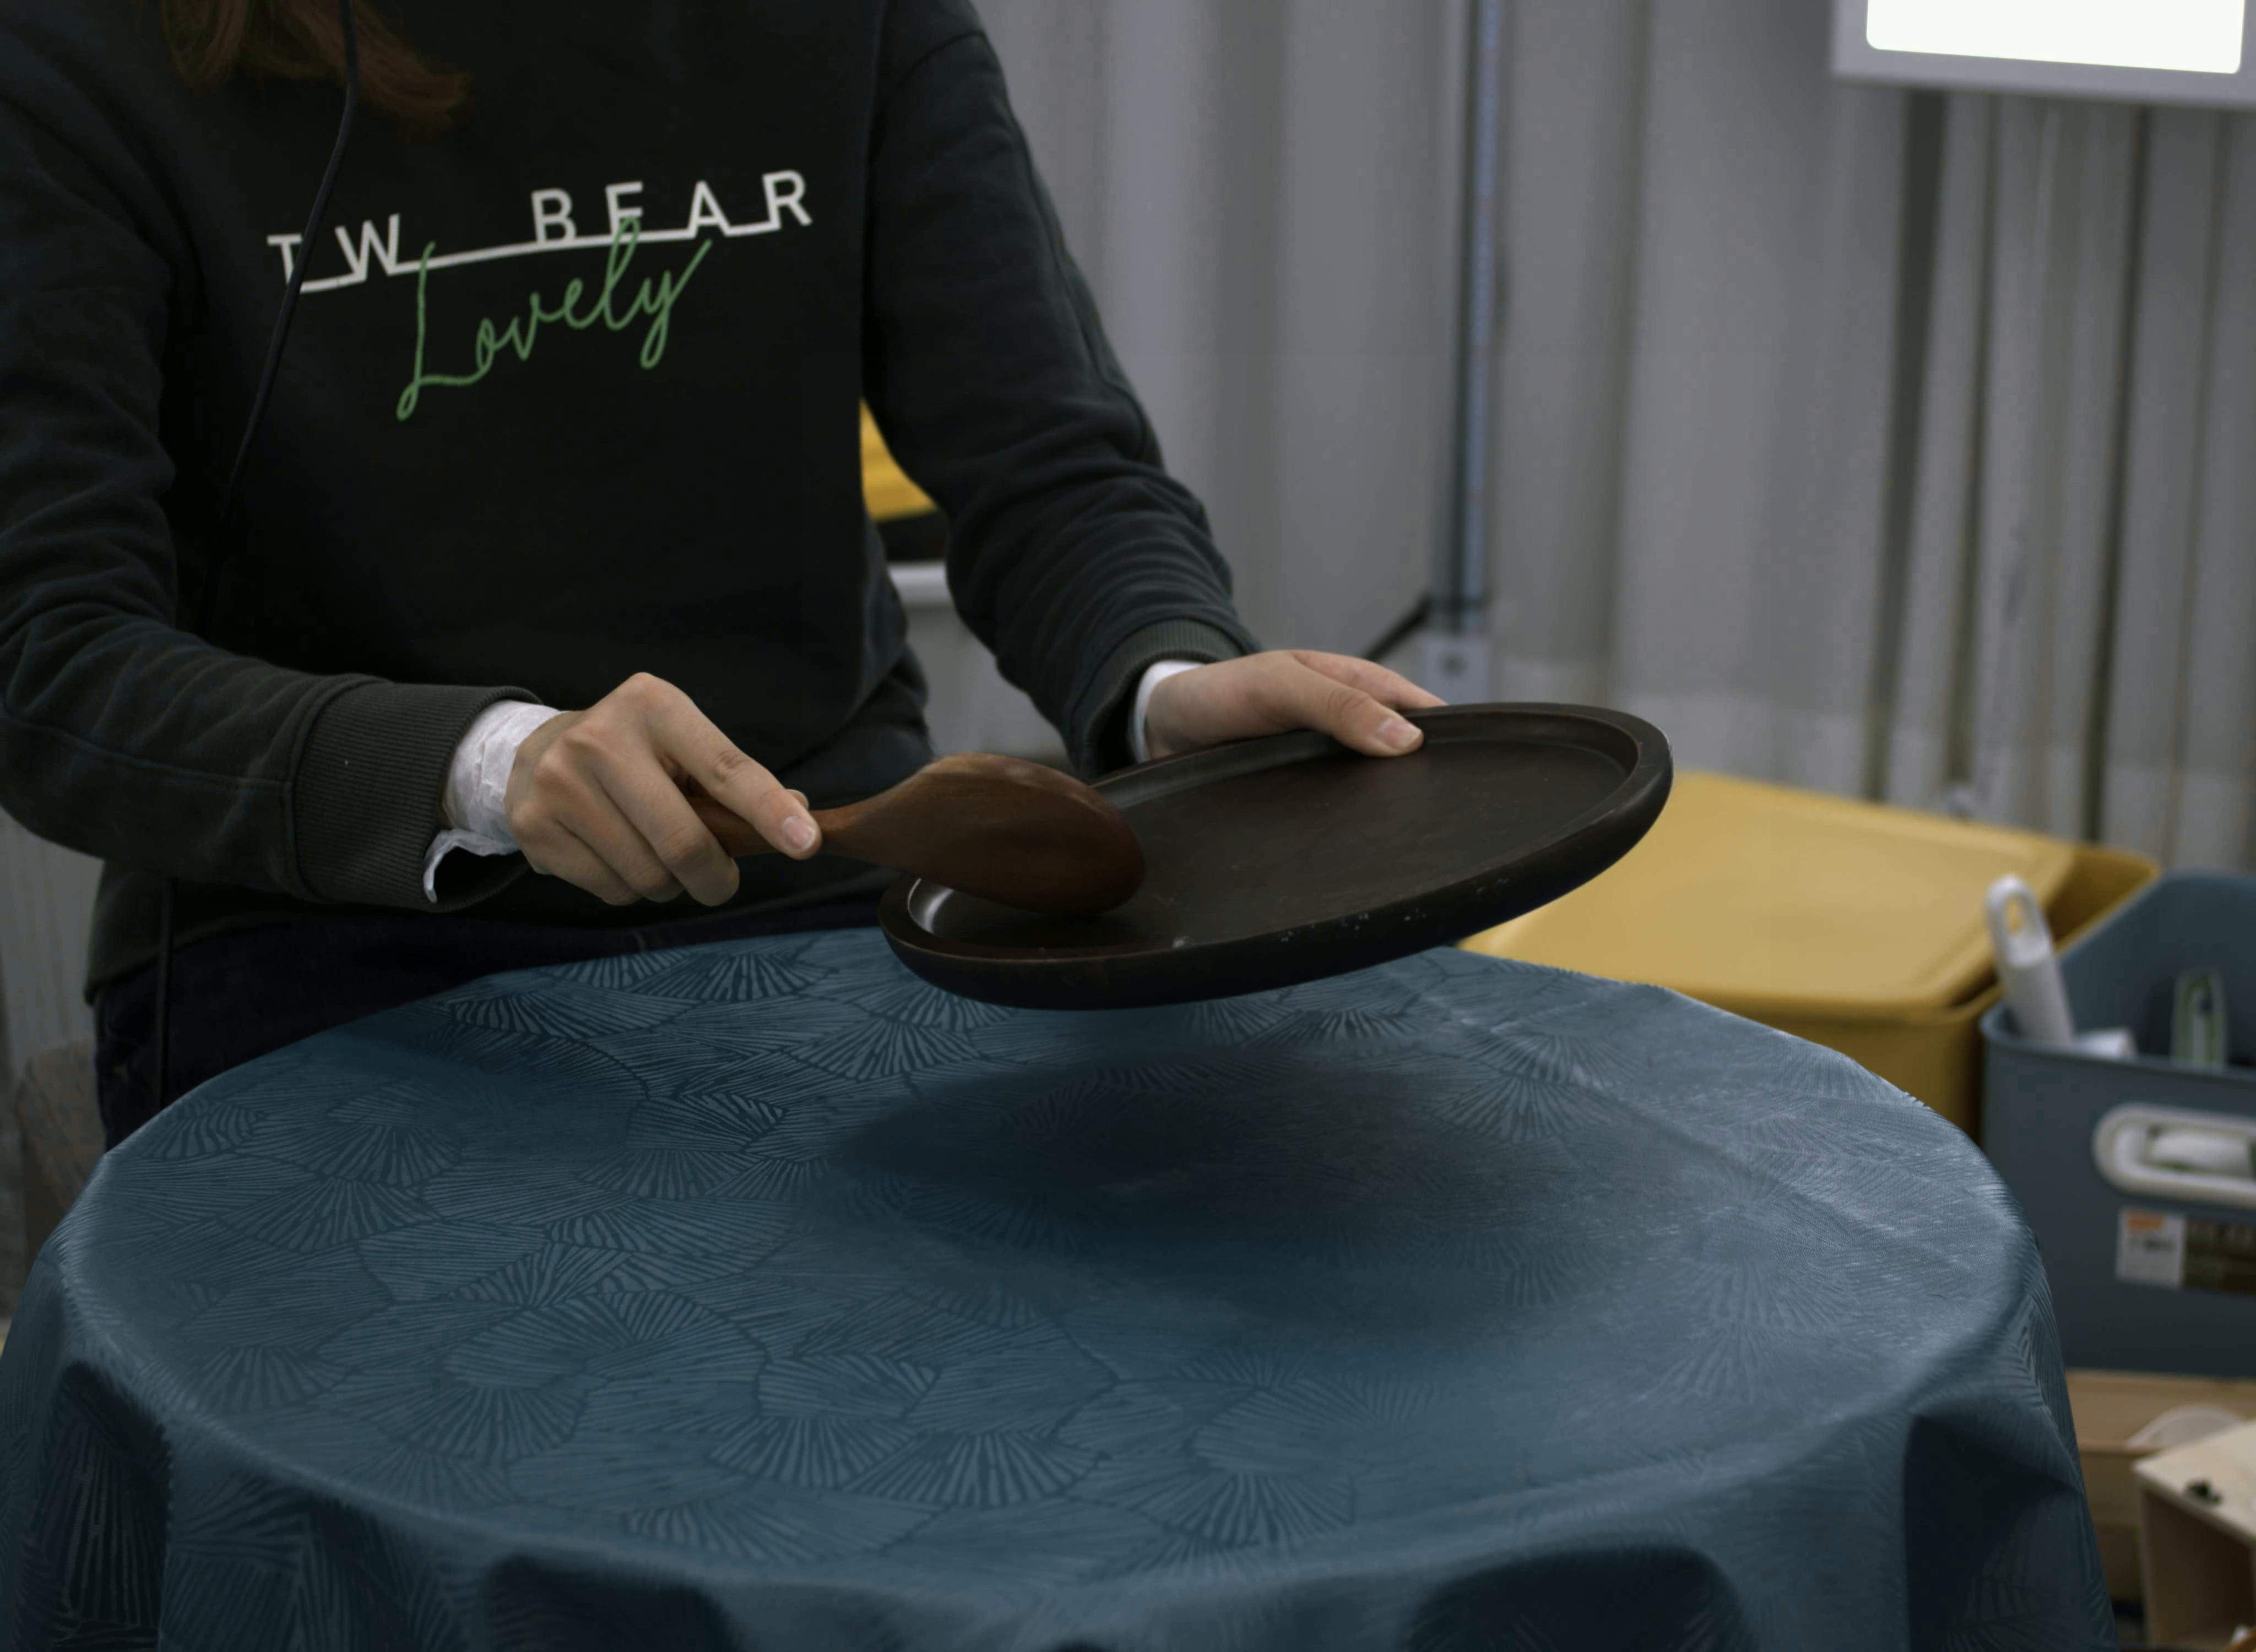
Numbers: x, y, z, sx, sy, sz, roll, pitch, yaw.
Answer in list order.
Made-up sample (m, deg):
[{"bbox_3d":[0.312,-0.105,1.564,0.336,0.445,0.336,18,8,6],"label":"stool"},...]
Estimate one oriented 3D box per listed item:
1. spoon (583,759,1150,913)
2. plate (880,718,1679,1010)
[{"bbox_3d":[-0.086,0.003,1.639,0.213,0.076,0.017,3,57,36],"label":"spoon"},{"bbox_3d":[0.048,0.009,1.644,0.254,0.029,0.253,-10,15,3],"label":"plate"}]
